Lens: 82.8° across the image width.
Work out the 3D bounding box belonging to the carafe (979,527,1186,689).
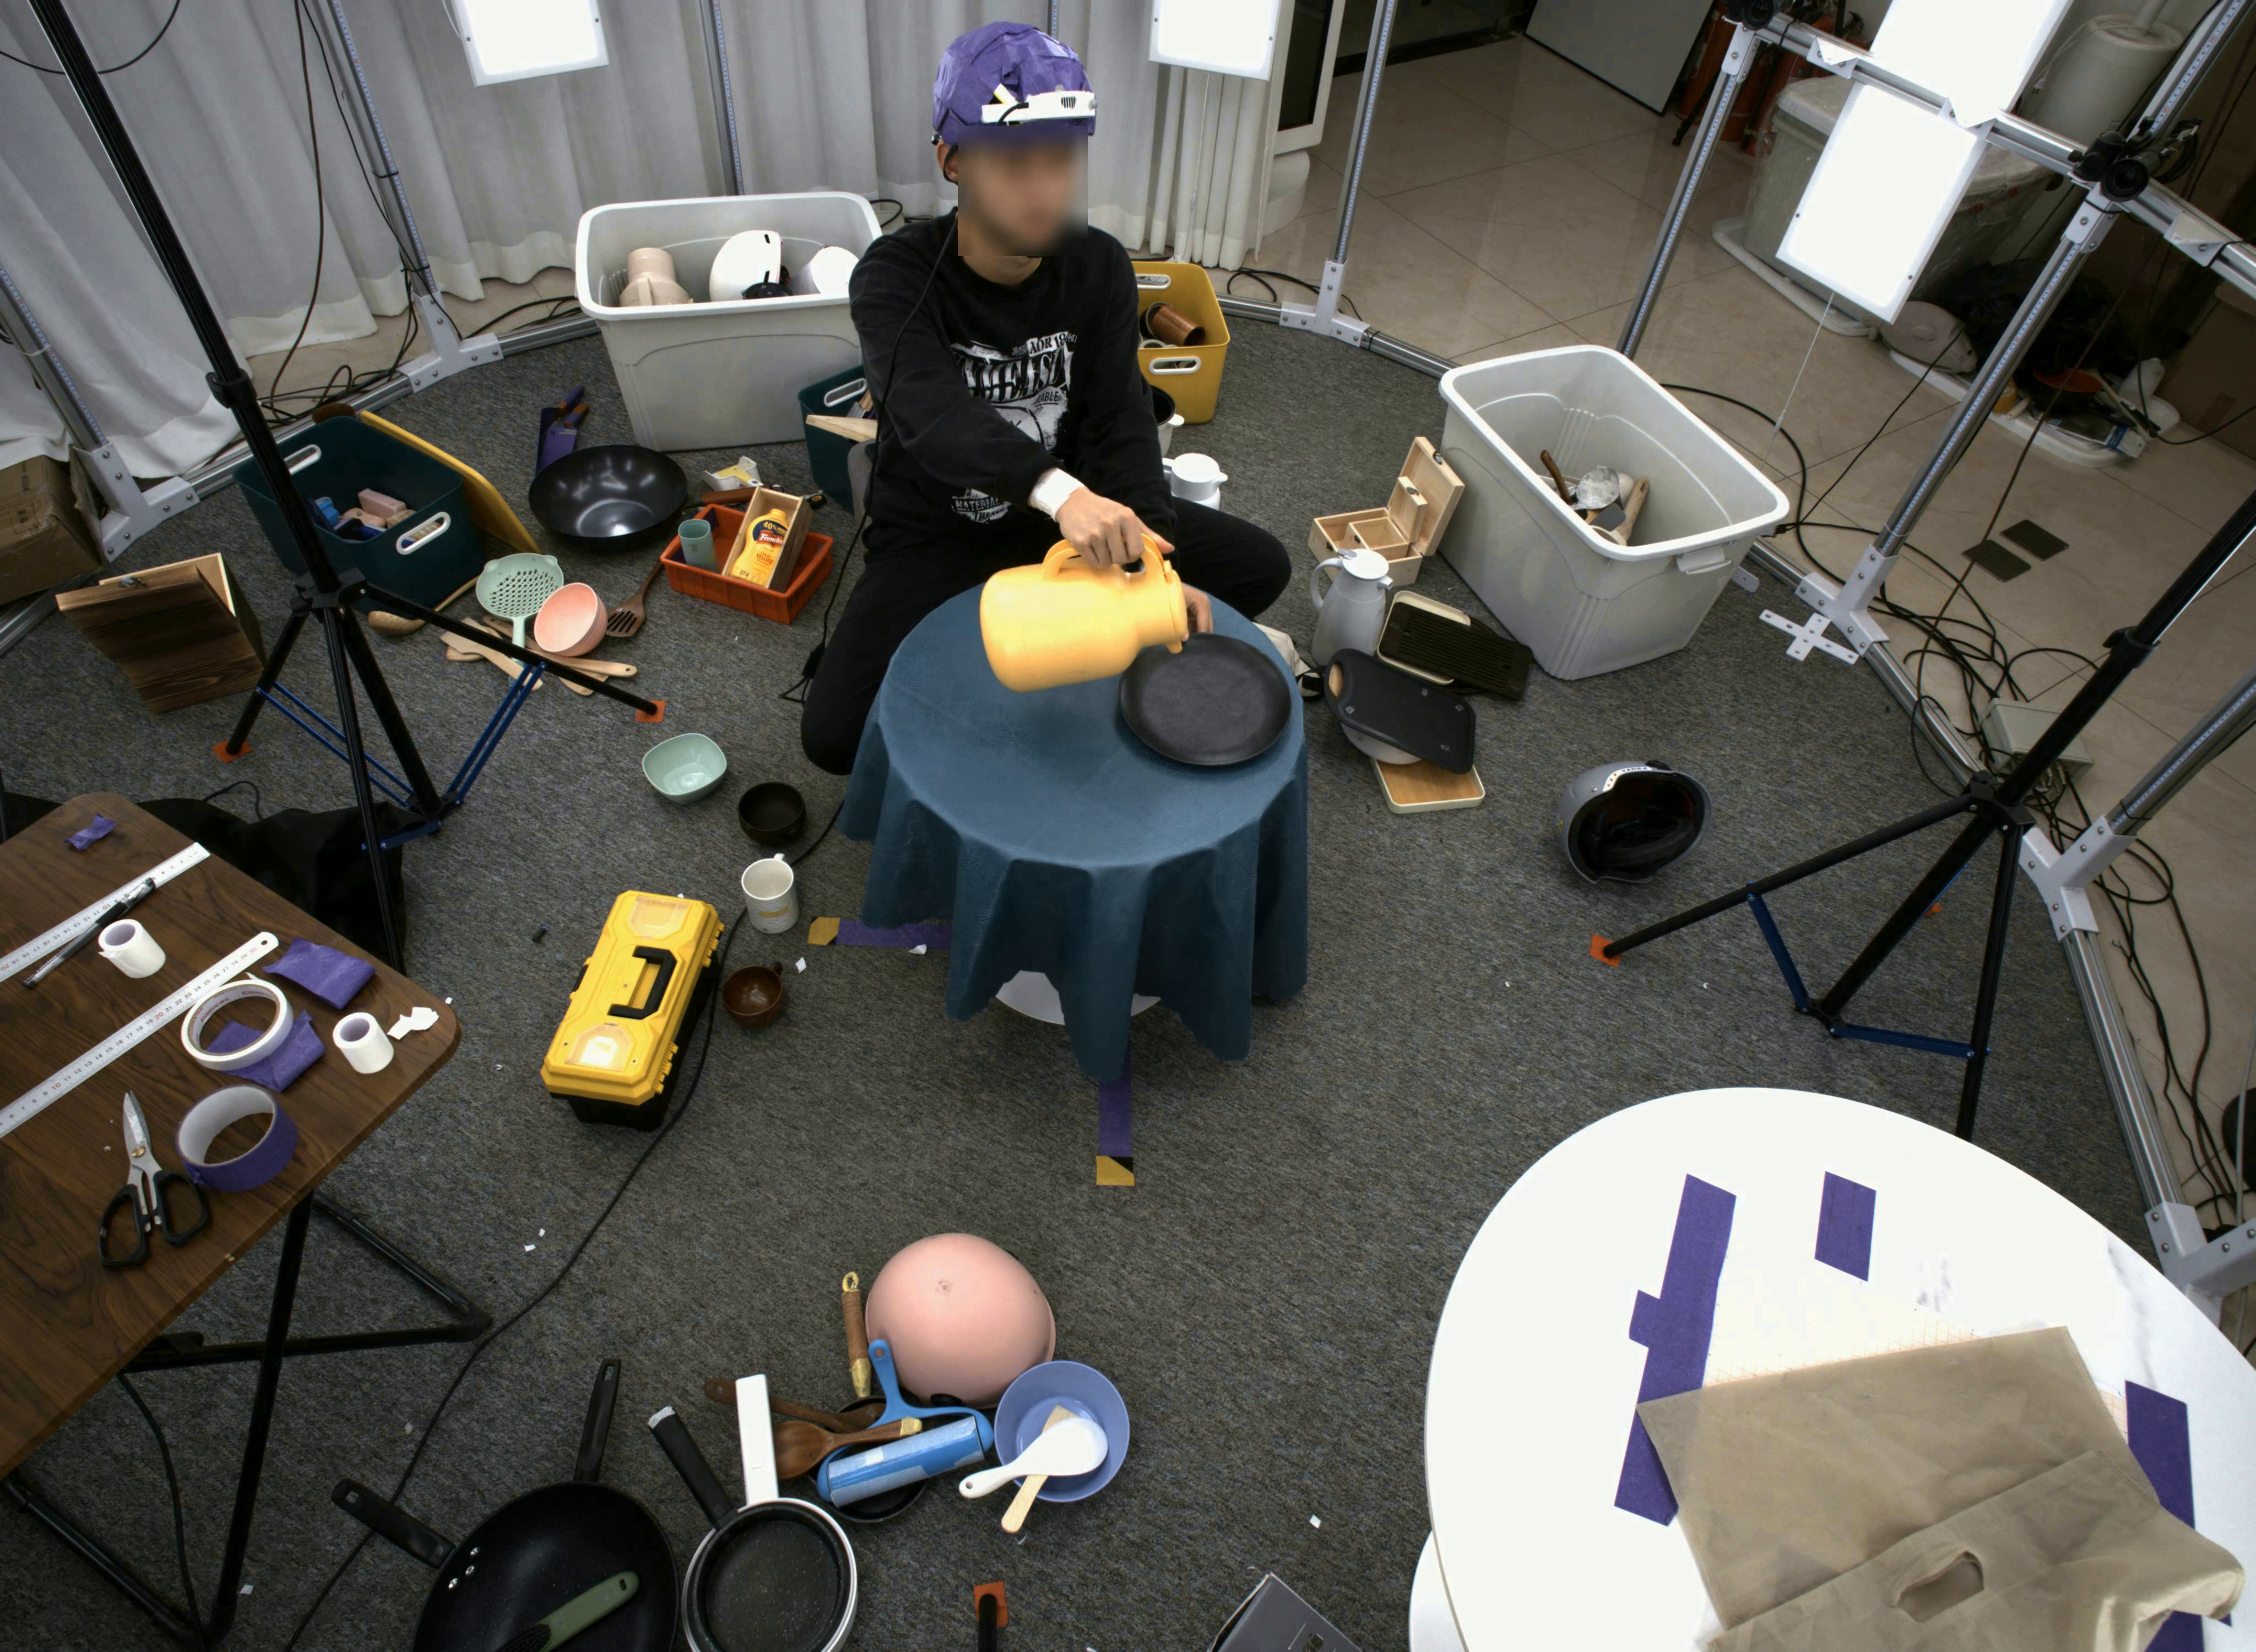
[{"bbox_3d":[-0.058,-0.287,1.660,0.260,0.197,0.167,-7,41,7],"label":"carafe"}]

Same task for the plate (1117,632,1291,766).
[{"bbox_3d":[0.107,-0.176,1.803,0.244,0.023,0.250,1,54,-2],"label":"plate"}]
